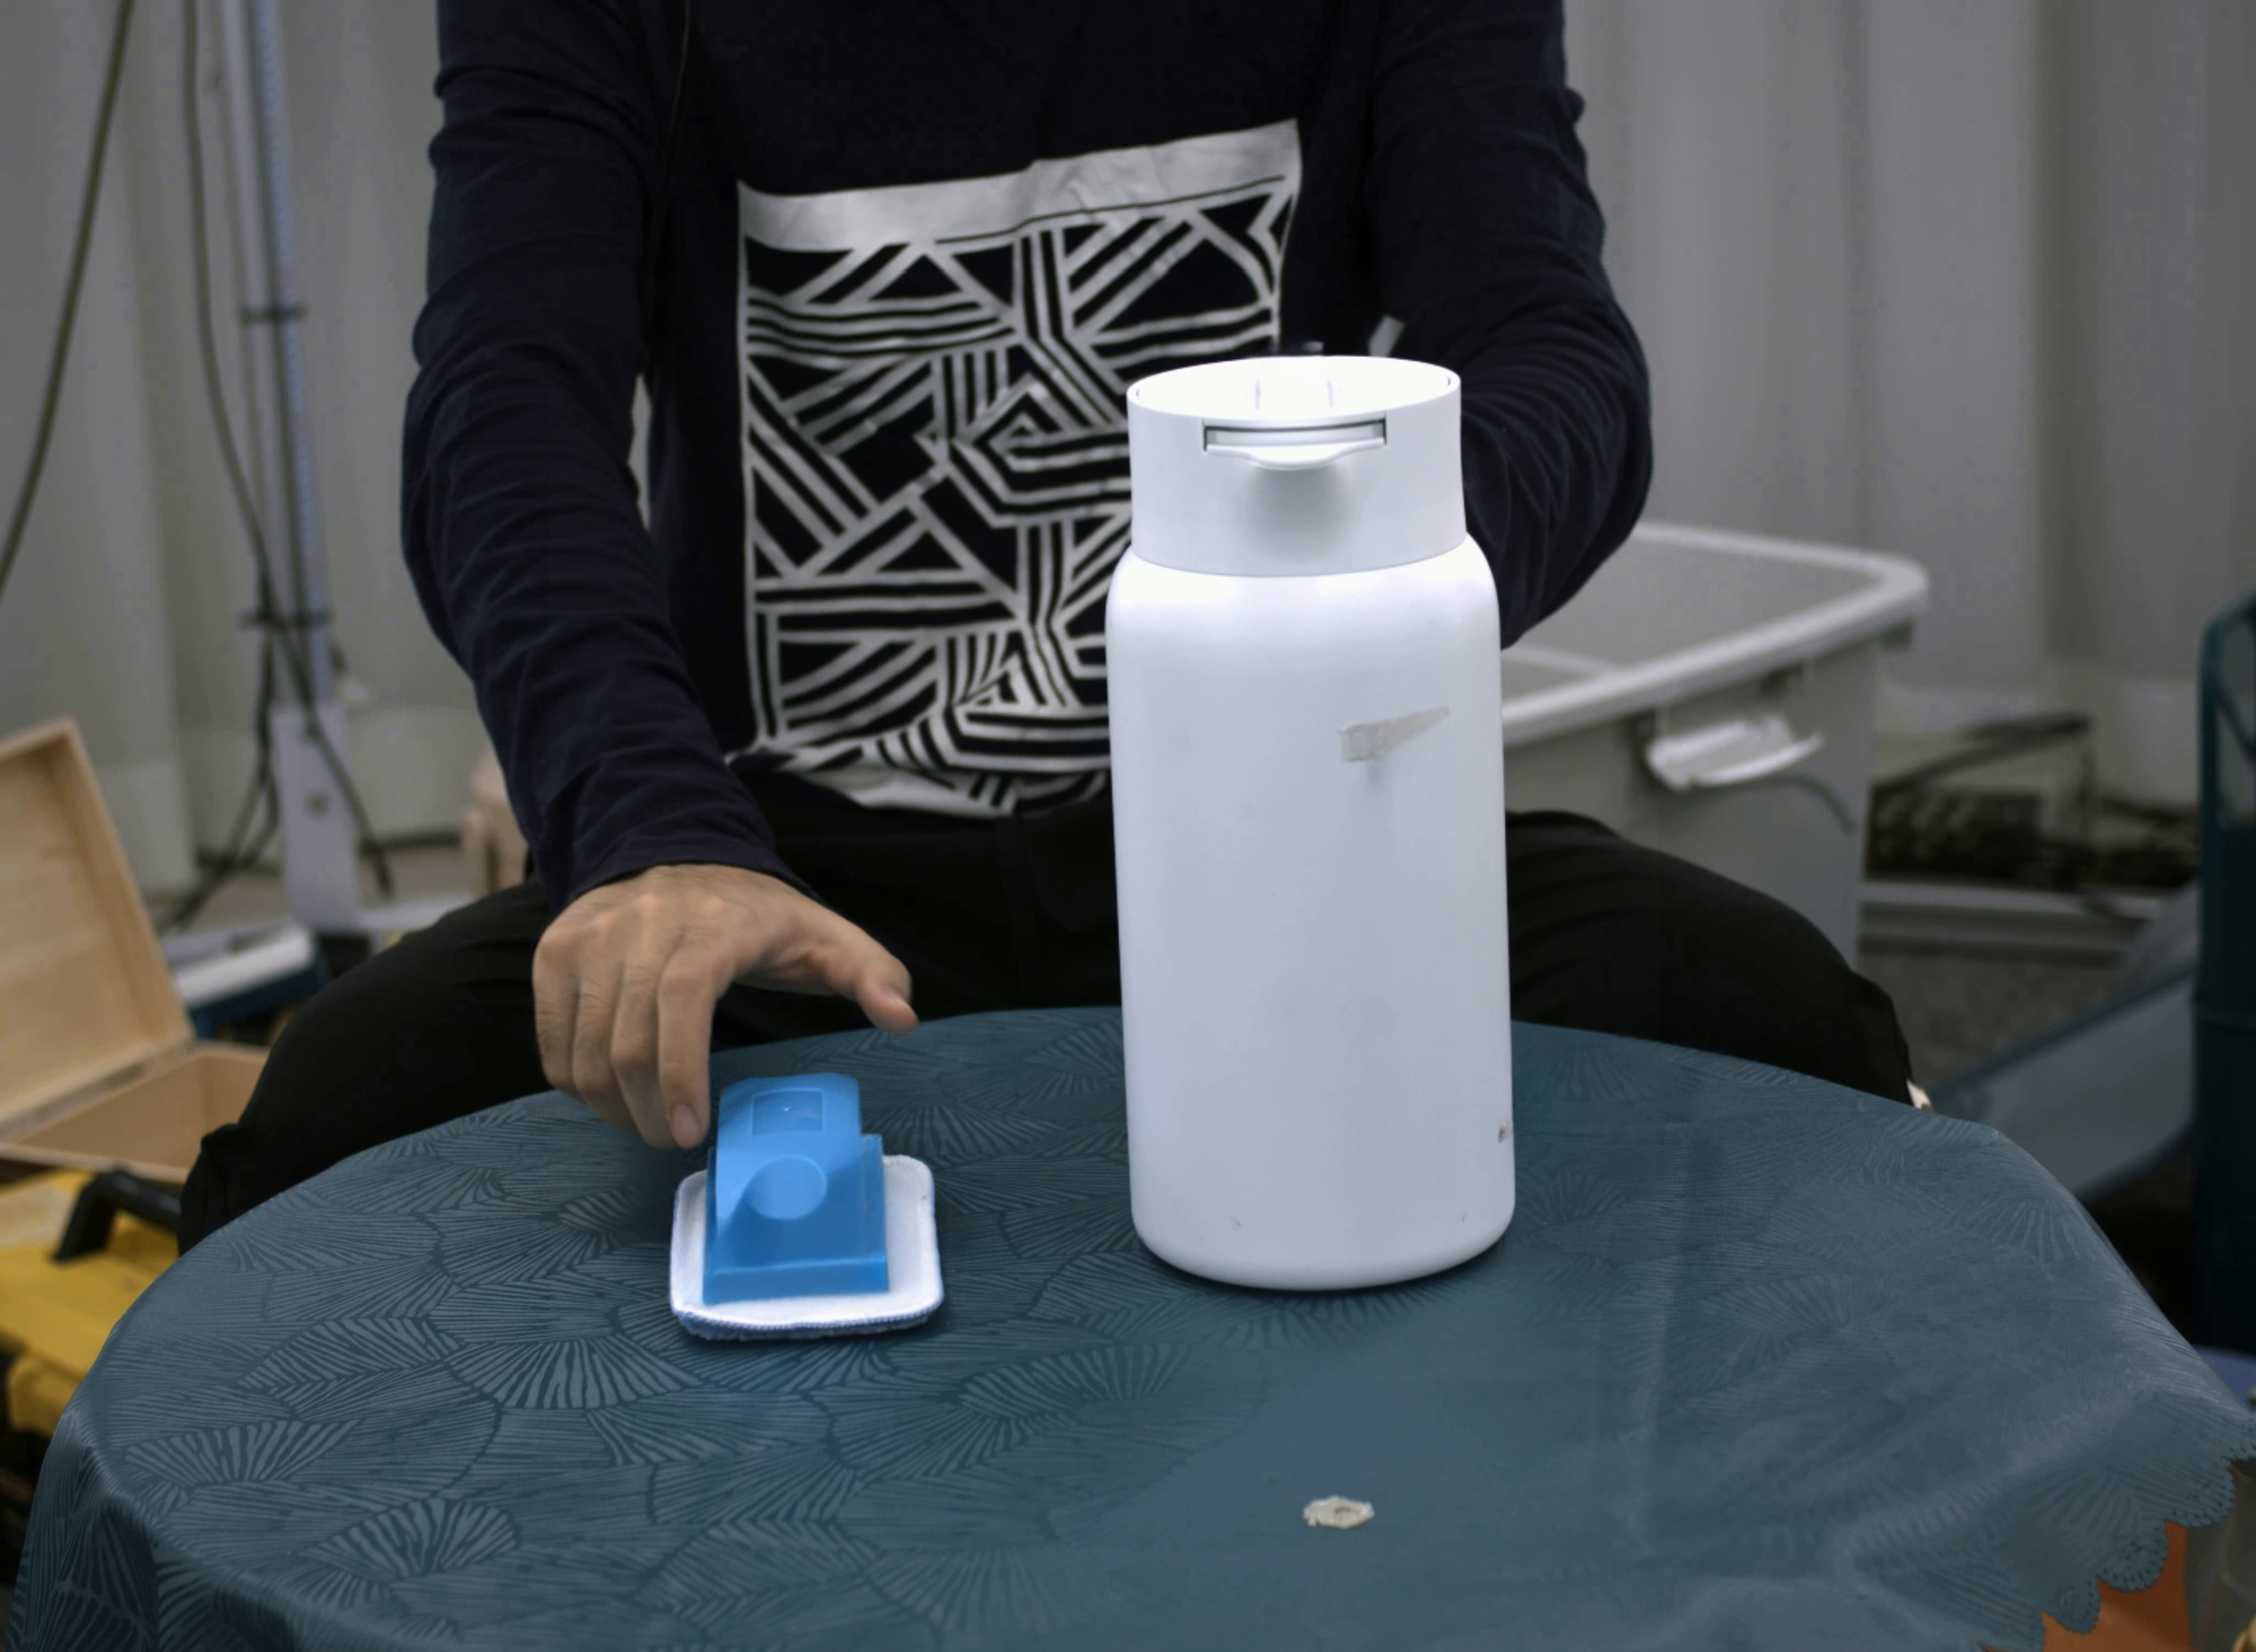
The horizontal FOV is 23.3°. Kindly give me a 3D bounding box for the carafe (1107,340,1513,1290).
[{"bbox_3d":[0.053,-0.008,1.650,0.123,0.268,0.174,-4,13,1],"label":"carafe"}]

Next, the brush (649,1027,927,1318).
[{"bbox_3d":[-0.103,0.102,1.659,0.083,0.055,0.145,0,19,-2],"label":"brush"}]
